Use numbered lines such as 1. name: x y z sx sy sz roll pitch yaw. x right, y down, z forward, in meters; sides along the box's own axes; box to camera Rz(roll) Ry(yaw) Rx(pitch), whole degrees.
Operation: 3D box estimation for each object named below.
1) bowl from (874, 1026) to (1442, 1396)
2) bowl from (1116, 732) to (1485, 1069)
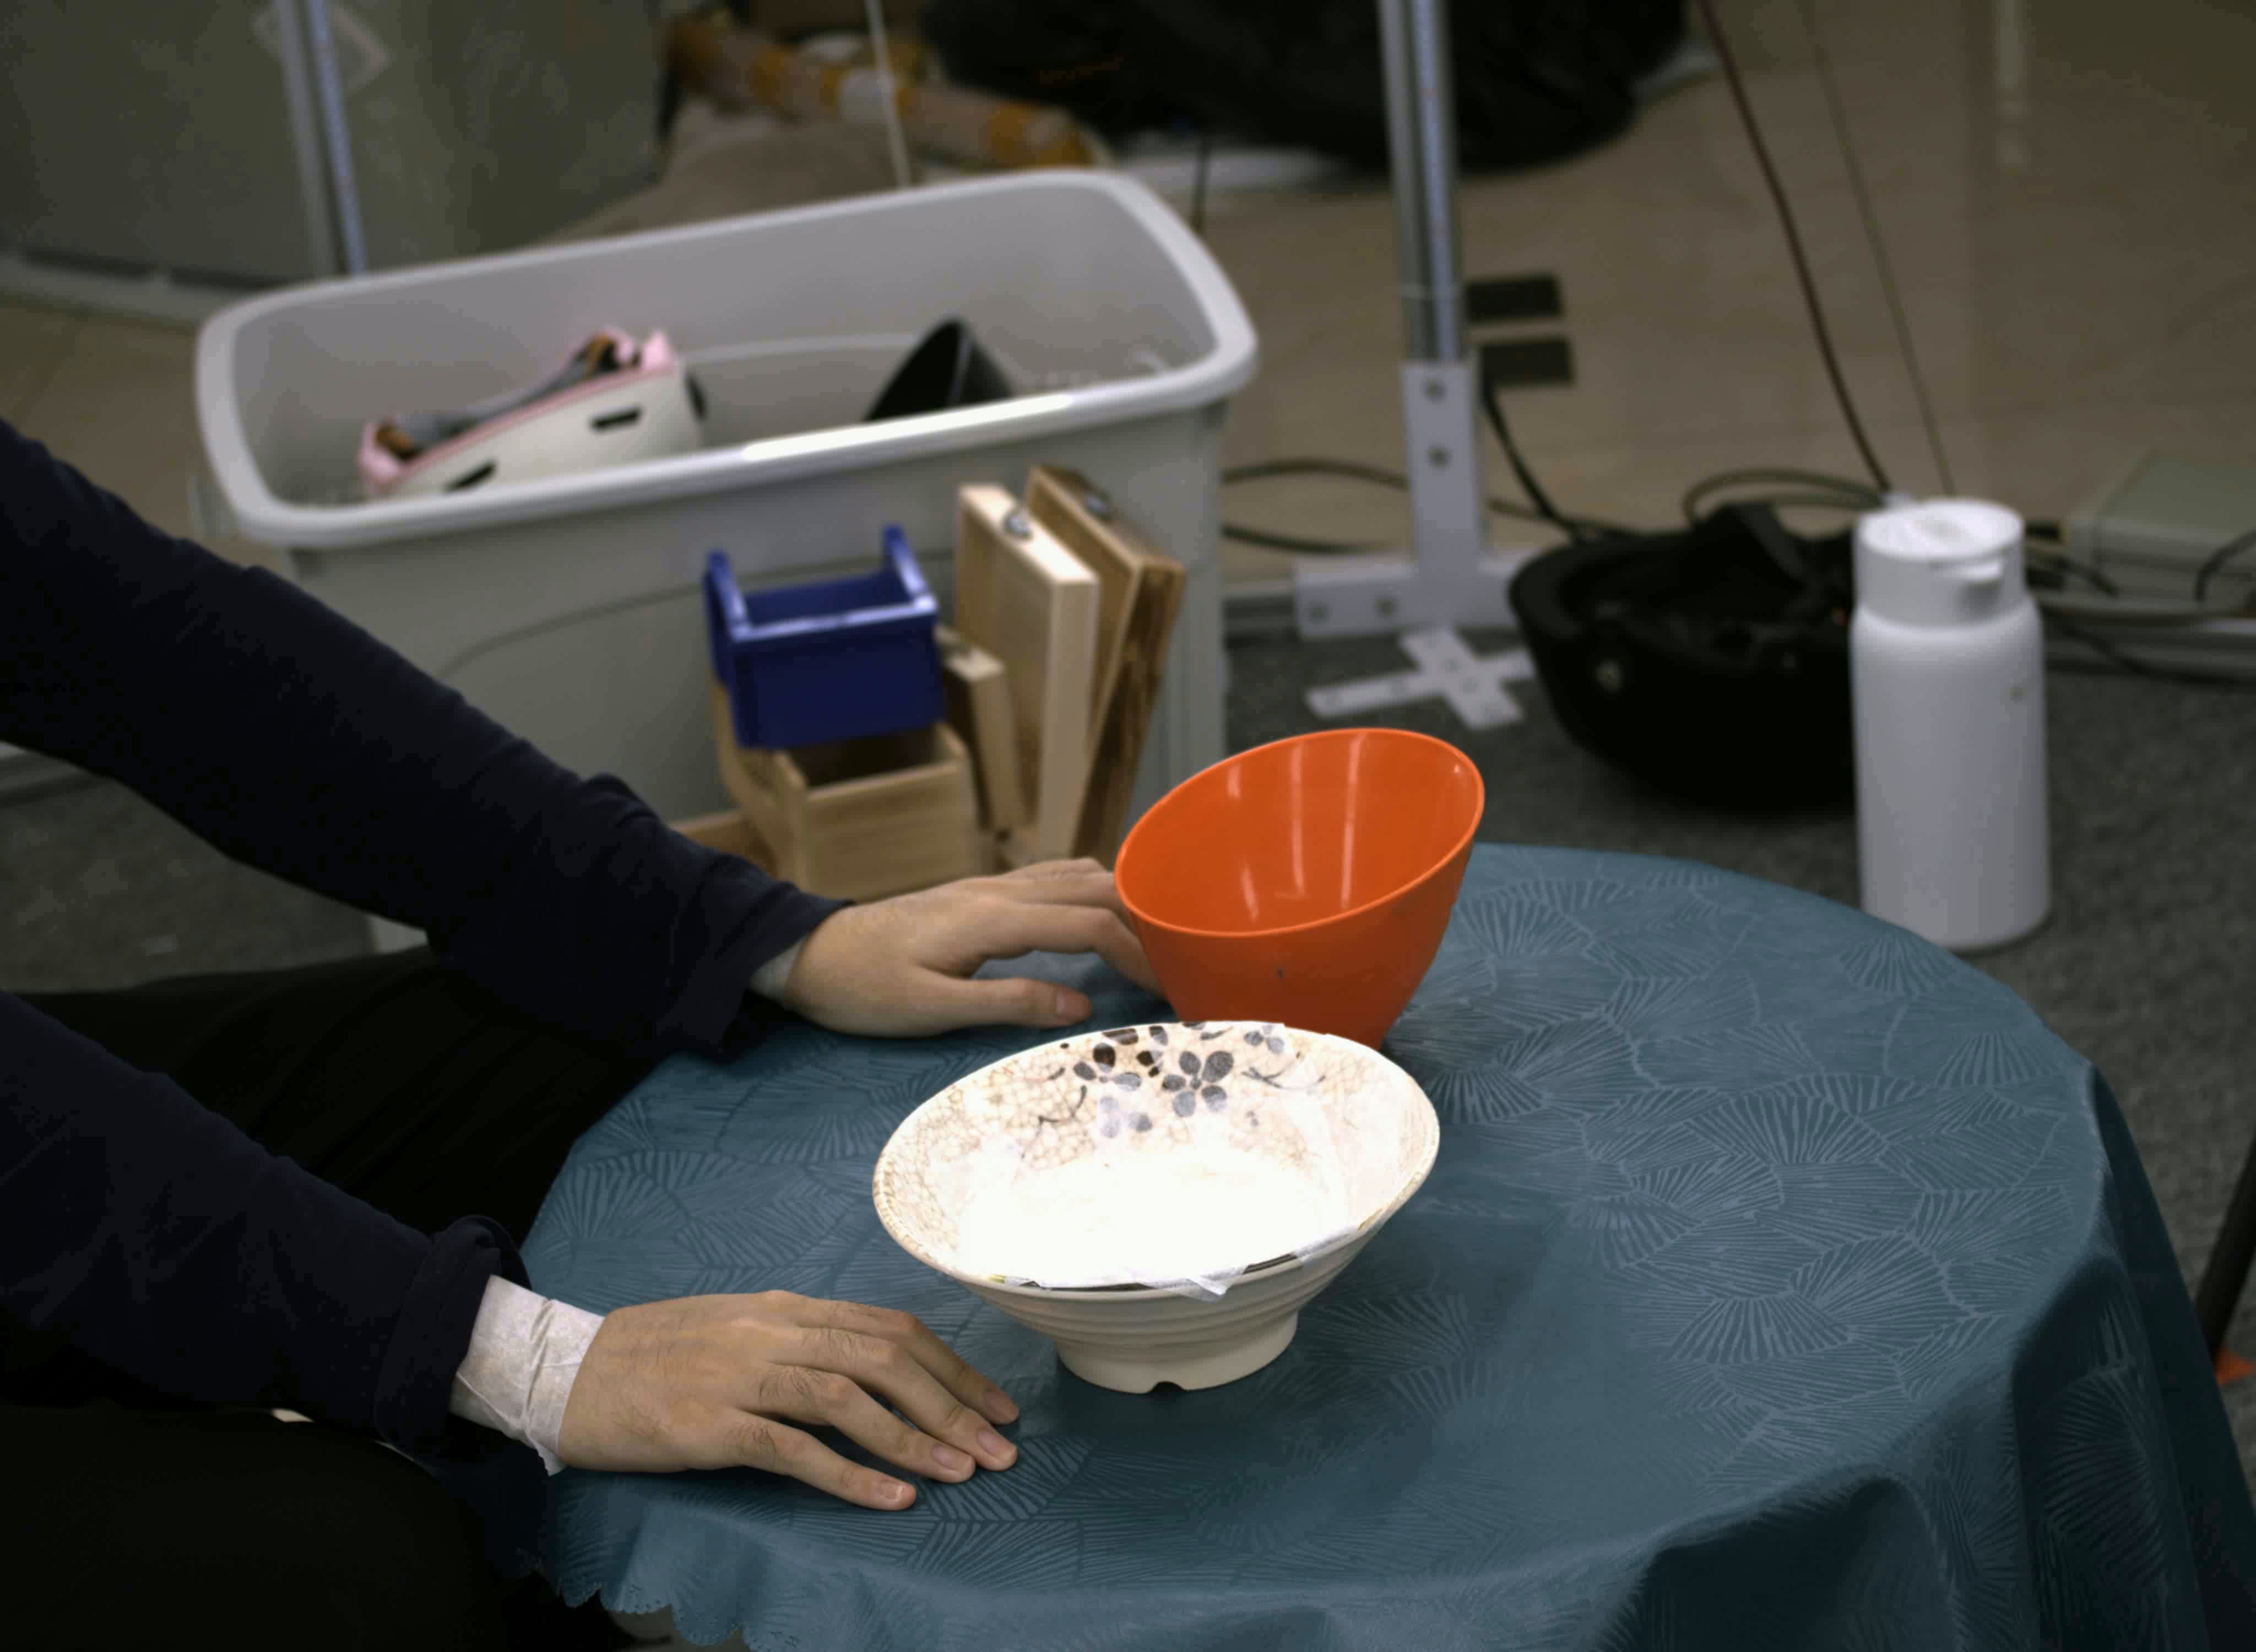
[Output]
1. bowl: 0.014 0.150 2.032 0.203 0.079 0.201 -5 24 3
2. bowl: 0.072 0.040 2.227 0.148 0.106 0.146 -7 26 3
